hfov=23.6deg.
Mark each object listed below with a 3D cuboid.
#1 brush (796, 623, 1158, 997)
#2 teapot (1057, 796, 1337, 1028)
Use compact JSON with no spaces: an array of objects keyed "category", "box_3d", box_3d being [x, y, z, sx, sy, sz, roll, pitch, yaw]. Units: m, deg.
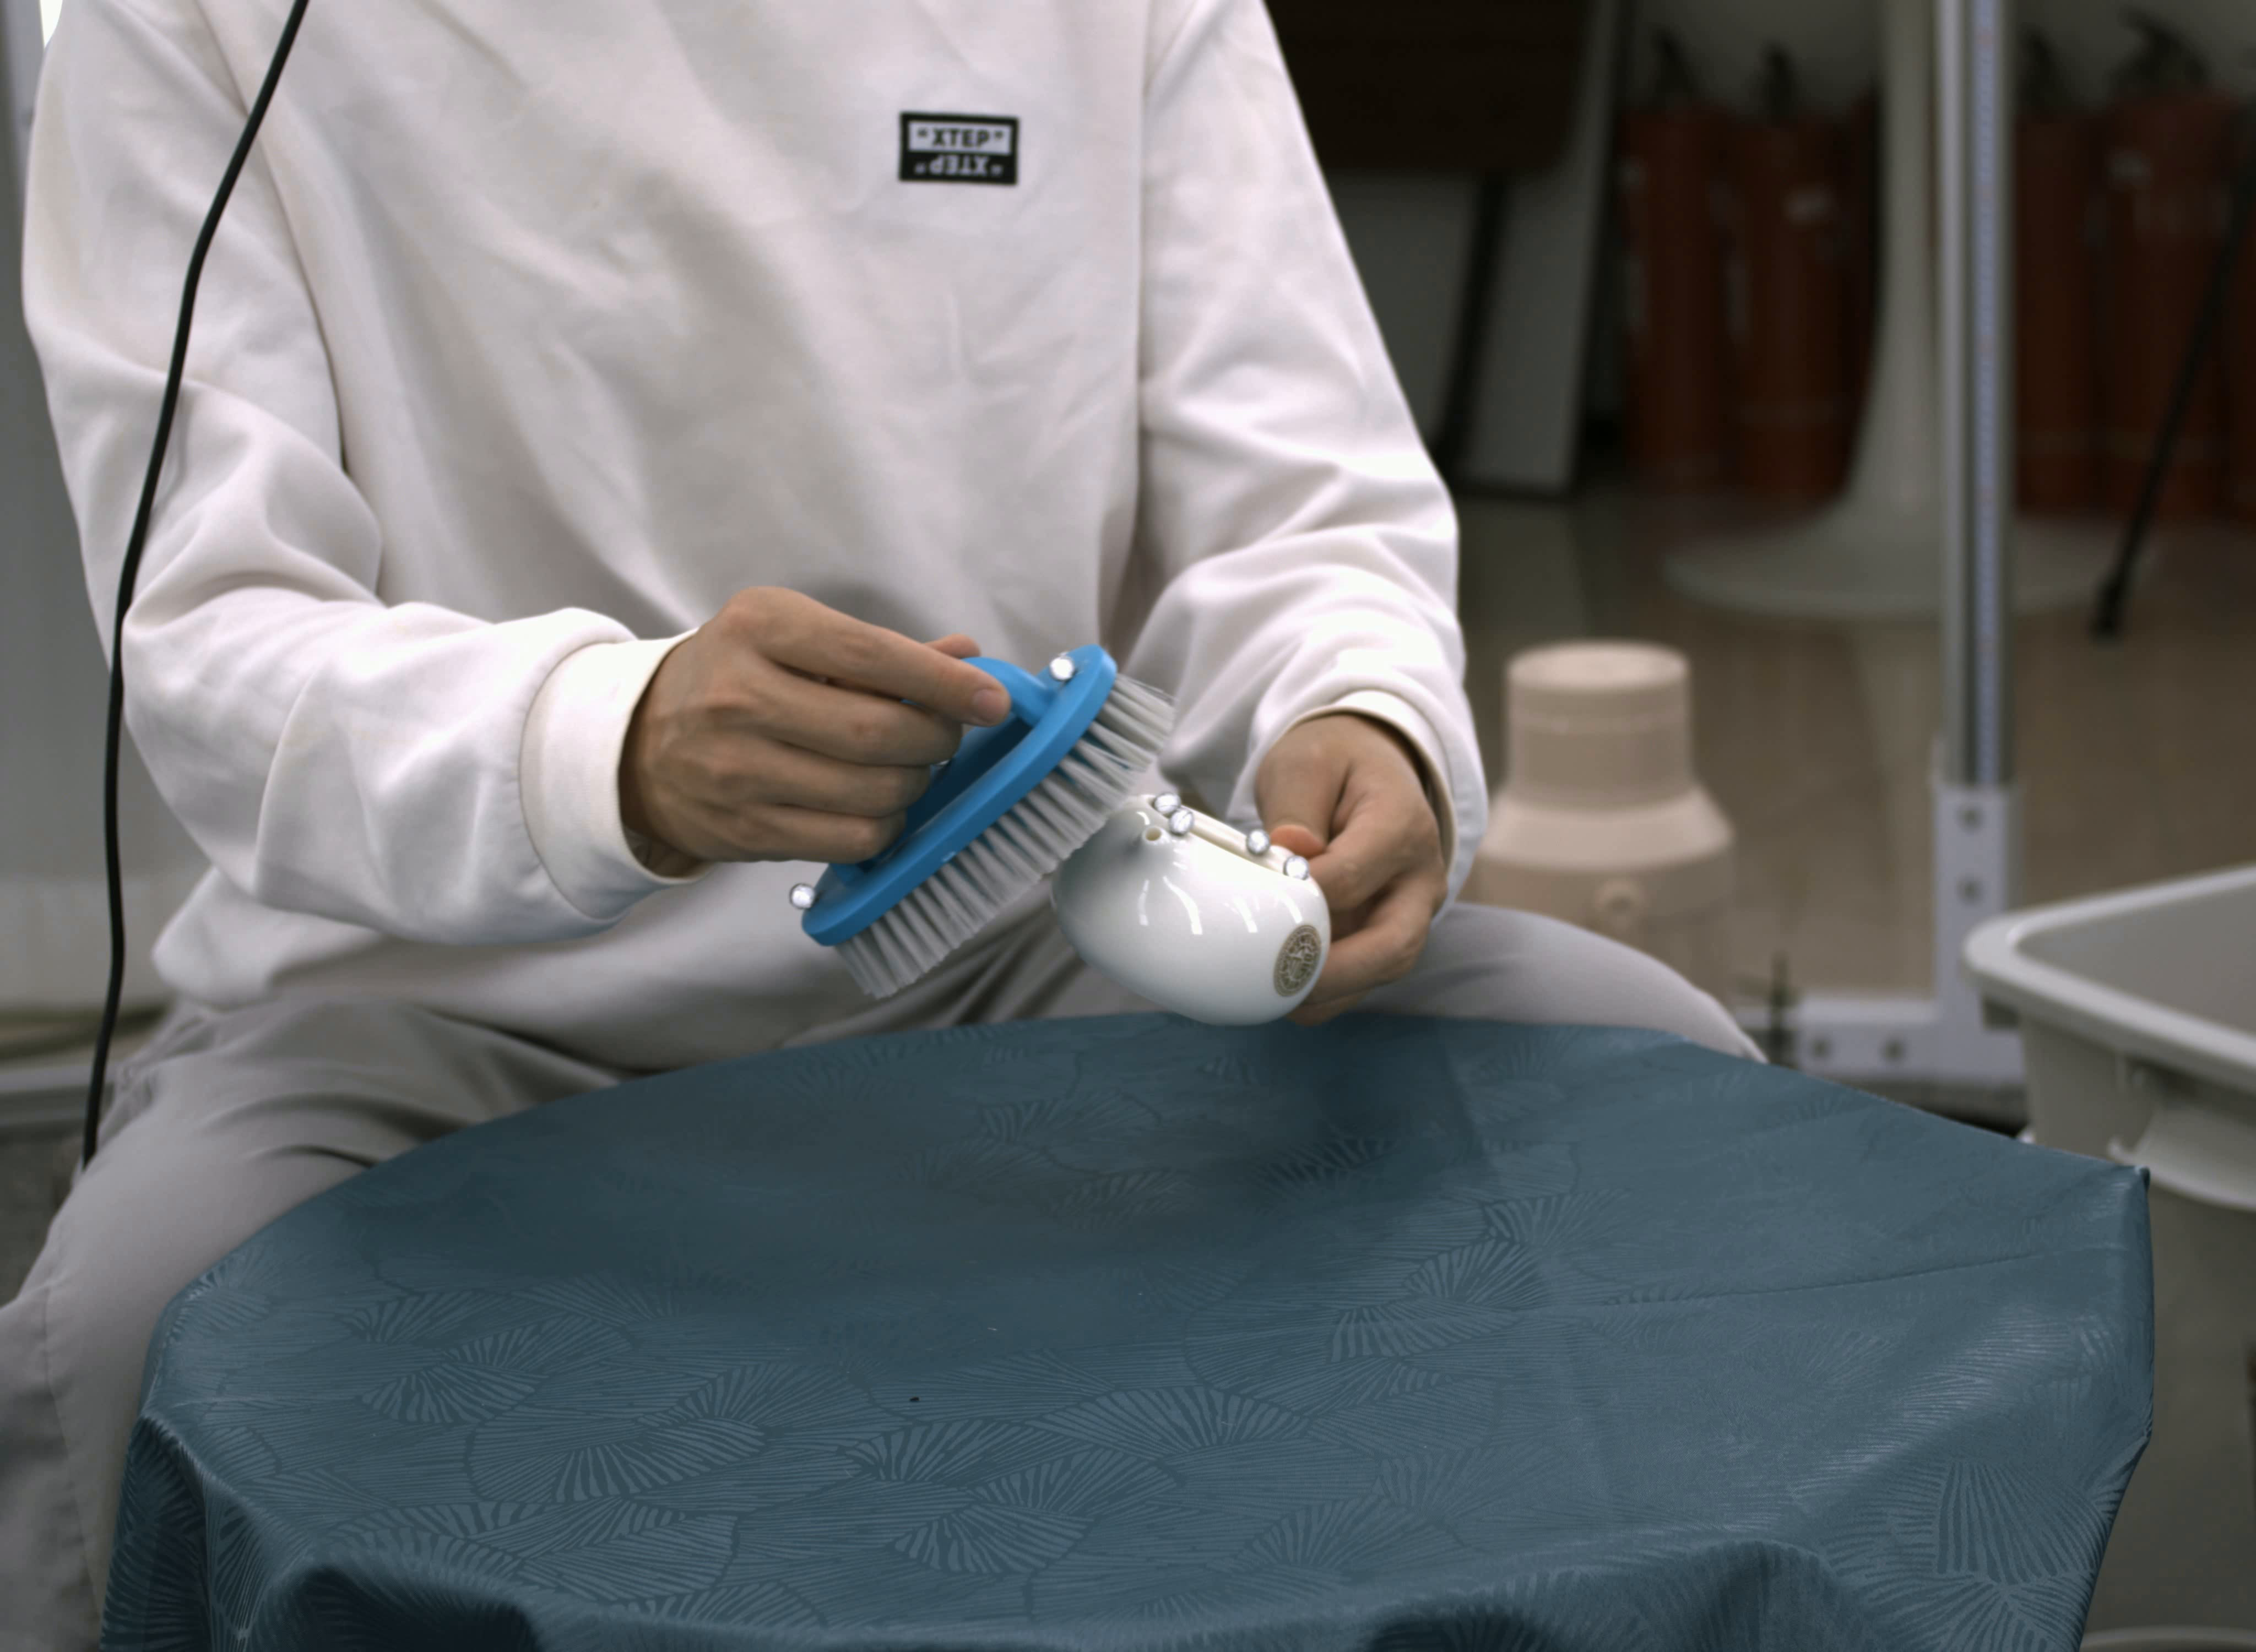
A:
[{"category":"brush","box_3d":[-0.058,-0.012,1.701,0.143,0.063,0.084,-41,20,26]},{"category":"teapot","box_3d":[0.026,0.029,1.741,0.094,0.057,0.125,25,5,23]}]
